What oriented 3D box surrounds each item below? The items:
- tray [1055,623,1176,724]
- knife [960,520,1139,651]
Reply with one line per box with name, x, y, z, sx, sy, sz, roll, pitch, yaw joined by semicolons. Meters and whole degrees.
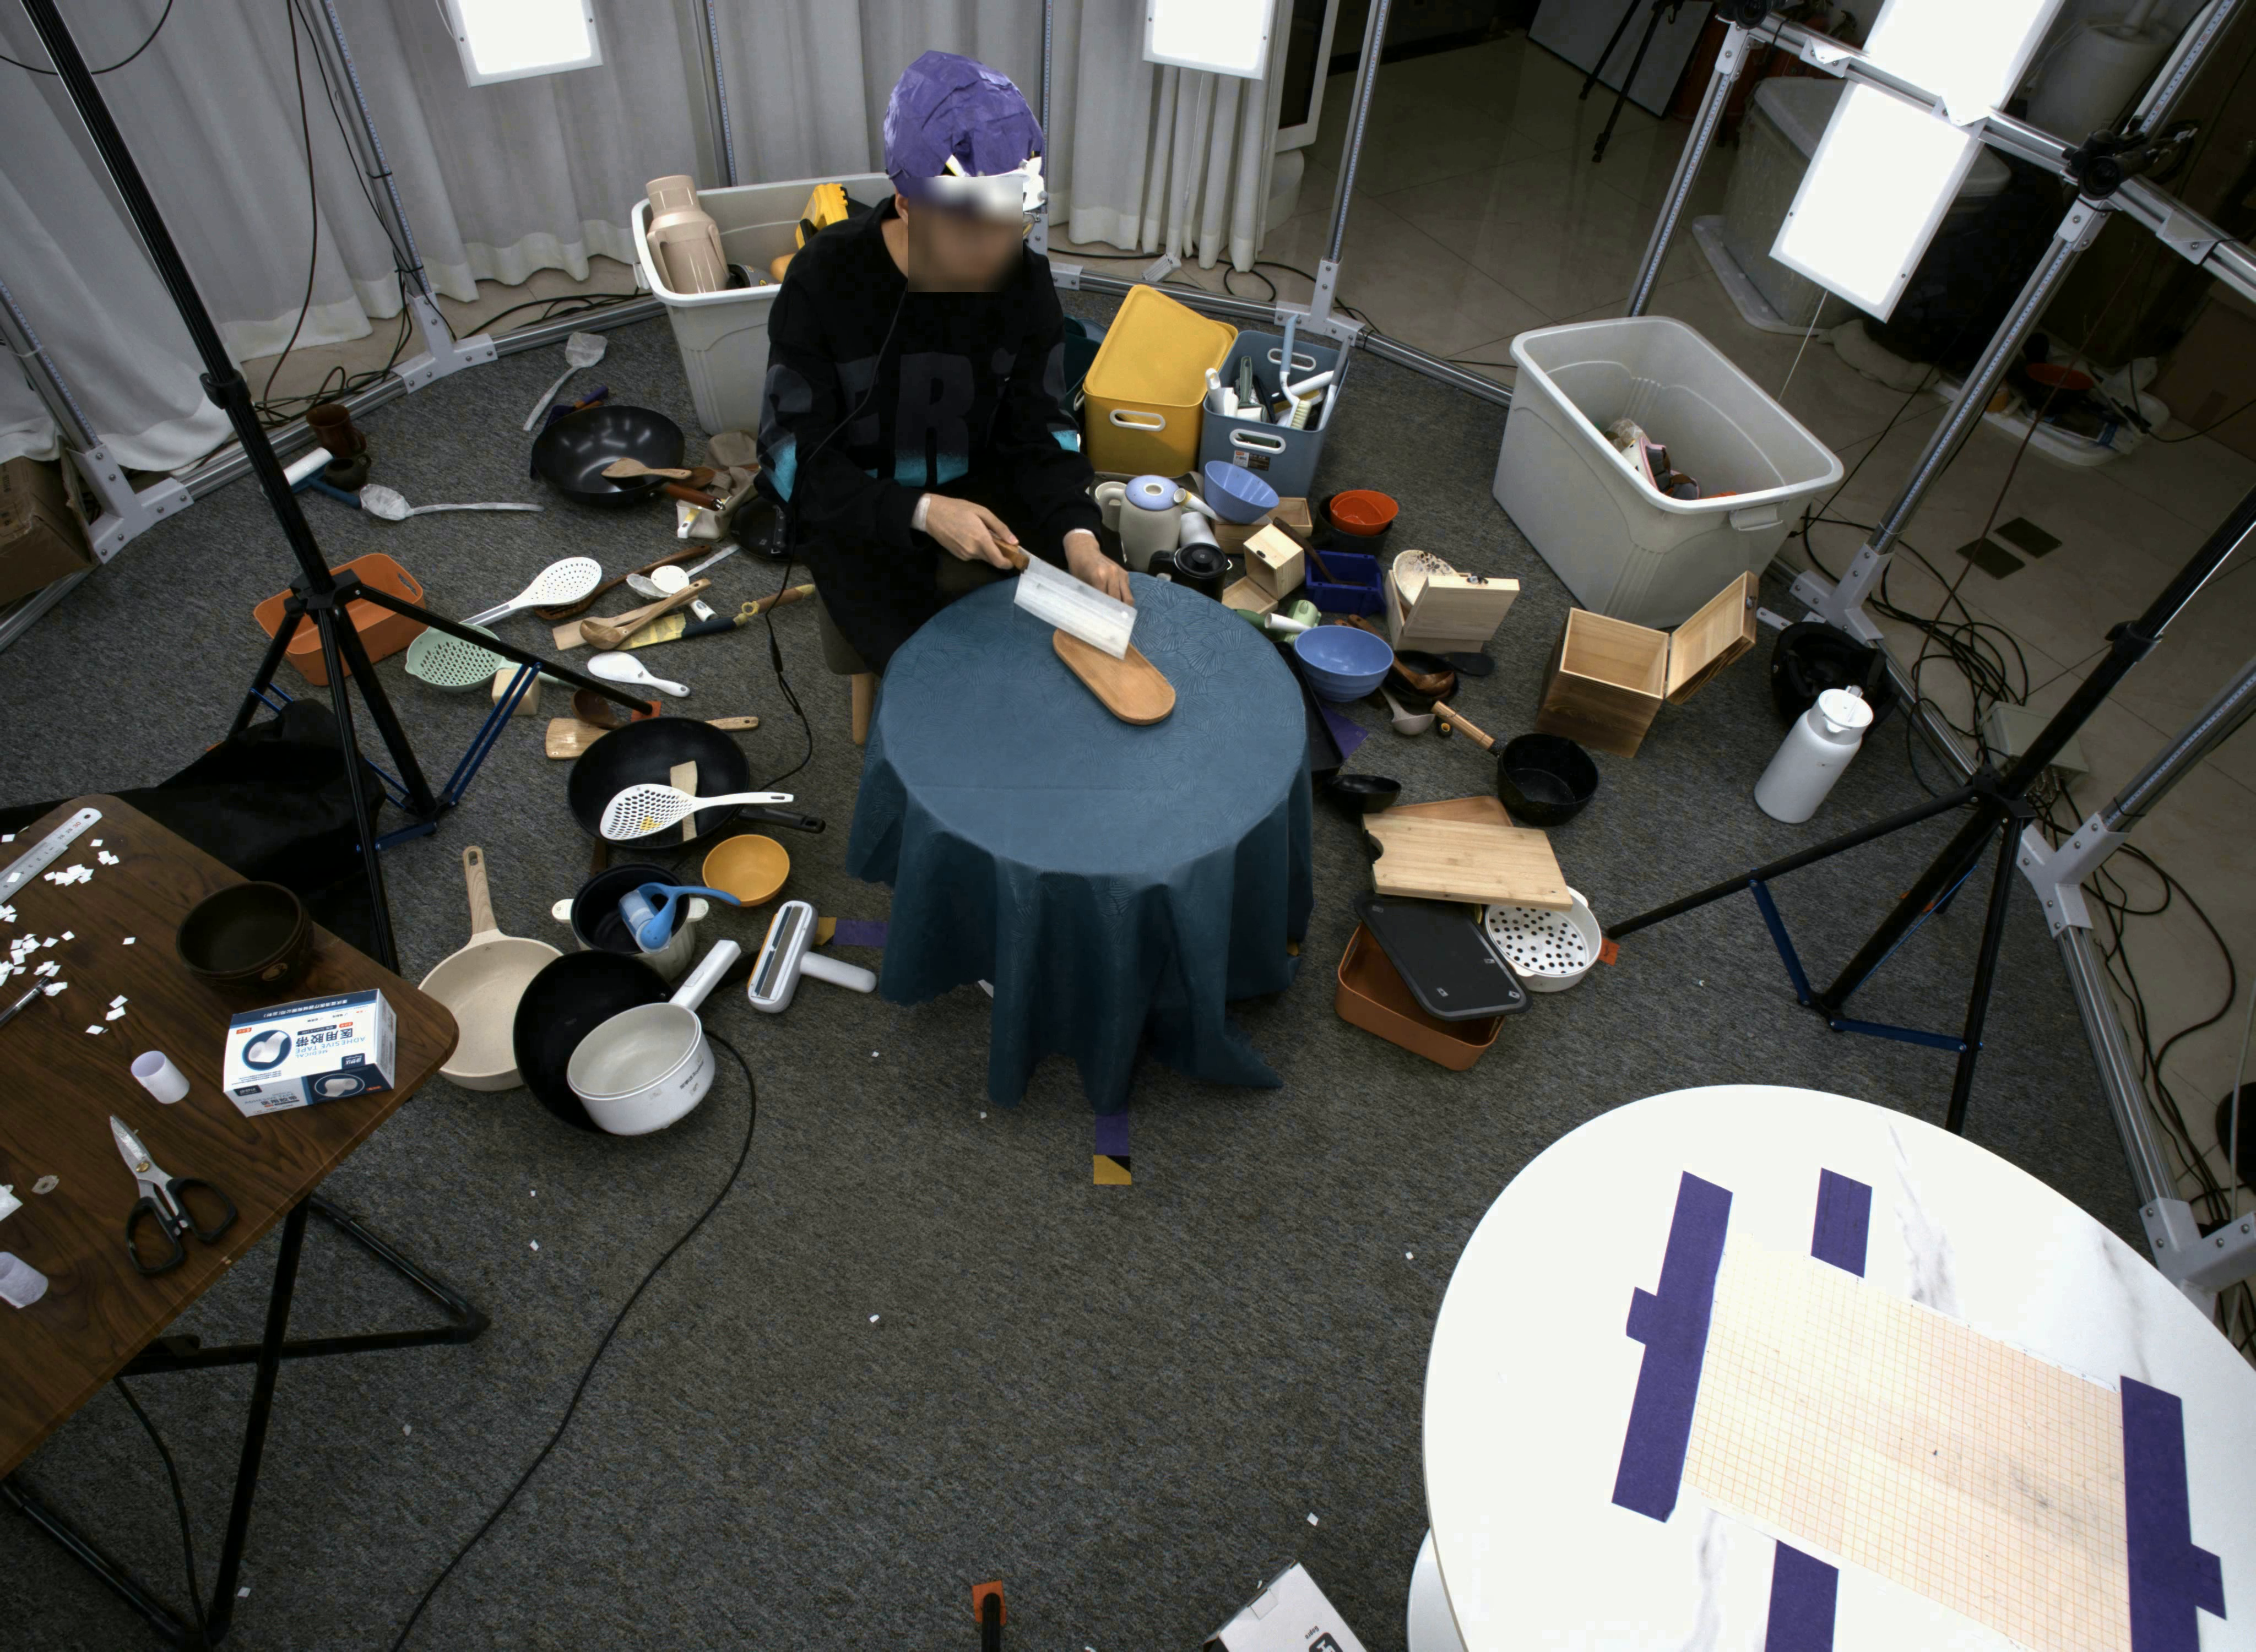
tray;-0.019;-0.227;1.853;0.102;0.020;0.236;-24;54;-25
knife;-0.120;-0.344;1.867;0.308;0.091;0.021;30;41;14
